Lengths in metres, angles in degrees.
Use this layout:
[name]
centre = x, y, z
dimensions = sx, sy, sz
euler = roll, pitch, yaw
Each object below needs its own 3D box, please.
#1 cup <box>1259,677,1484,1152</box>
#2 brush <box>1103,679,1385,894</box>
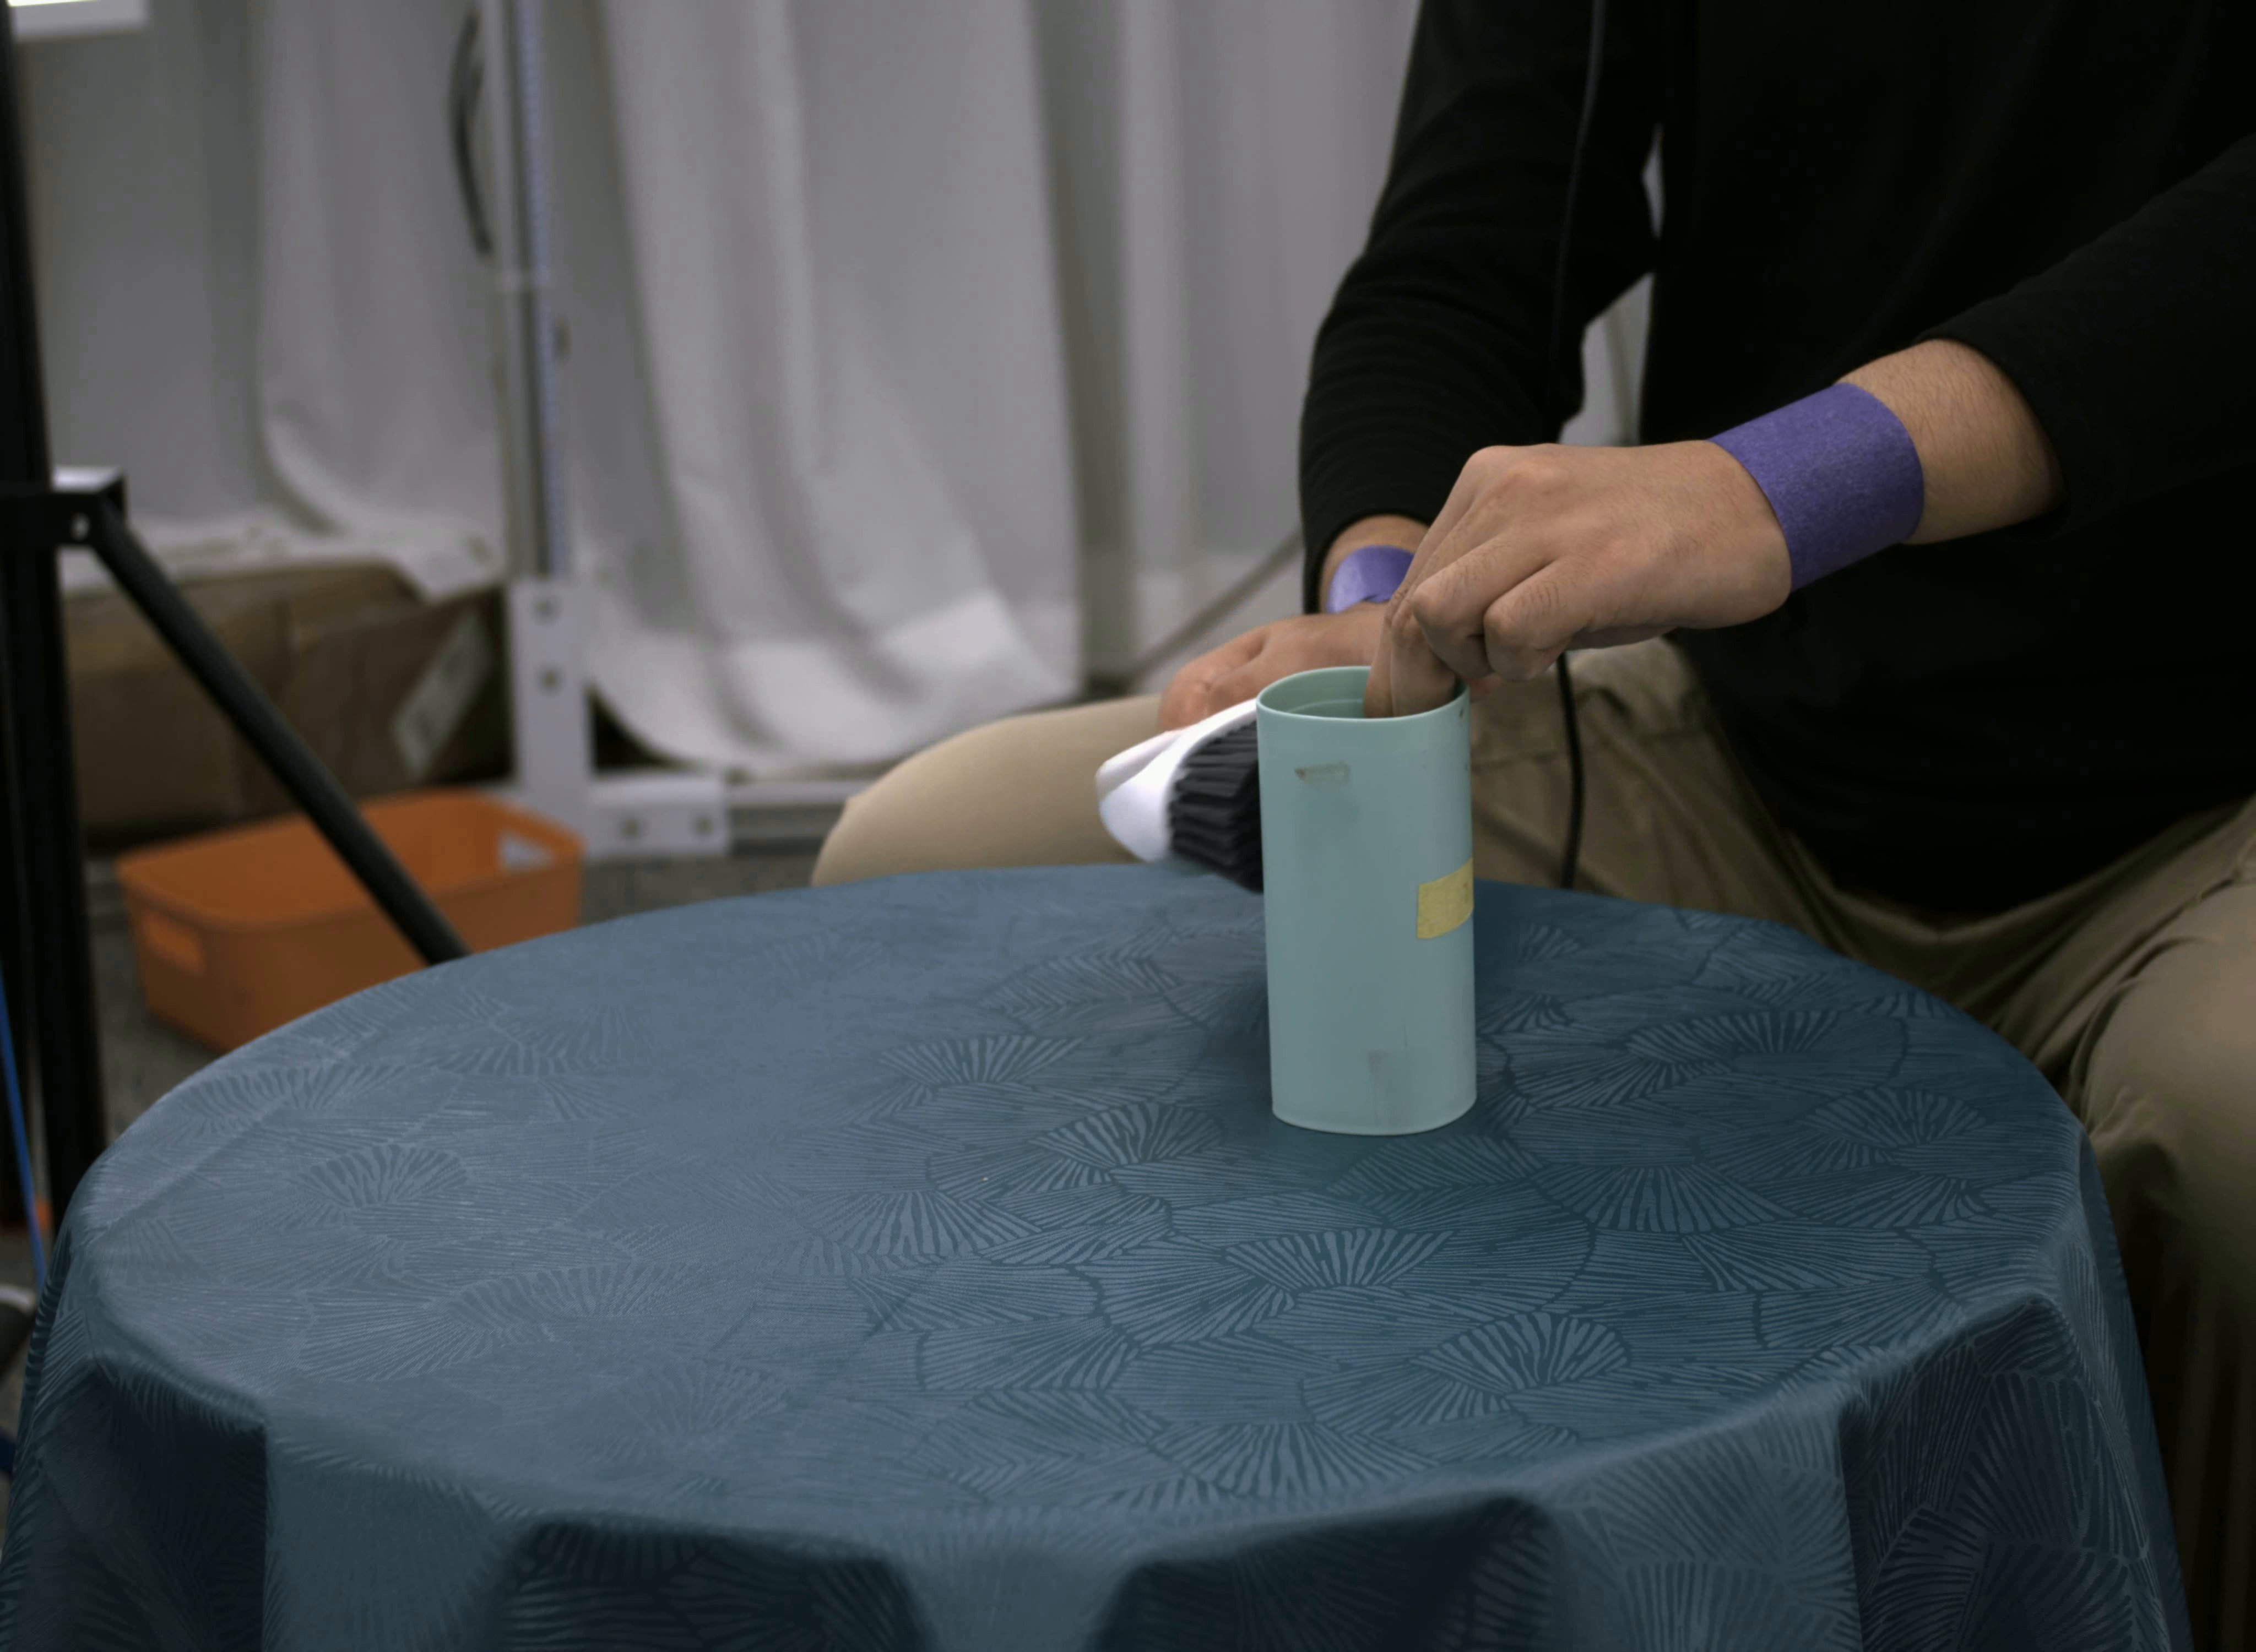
[cup]
centre = 0.074, 0.026, 1.611
dimensions = 0.066, 0.132, 0.067
euler = -3, 15, -1
[brush]
centre = 0.035, -0.016, 1.669
dimensions = 0.074, 0.050, 0.097
euler = 10, 25, 38
